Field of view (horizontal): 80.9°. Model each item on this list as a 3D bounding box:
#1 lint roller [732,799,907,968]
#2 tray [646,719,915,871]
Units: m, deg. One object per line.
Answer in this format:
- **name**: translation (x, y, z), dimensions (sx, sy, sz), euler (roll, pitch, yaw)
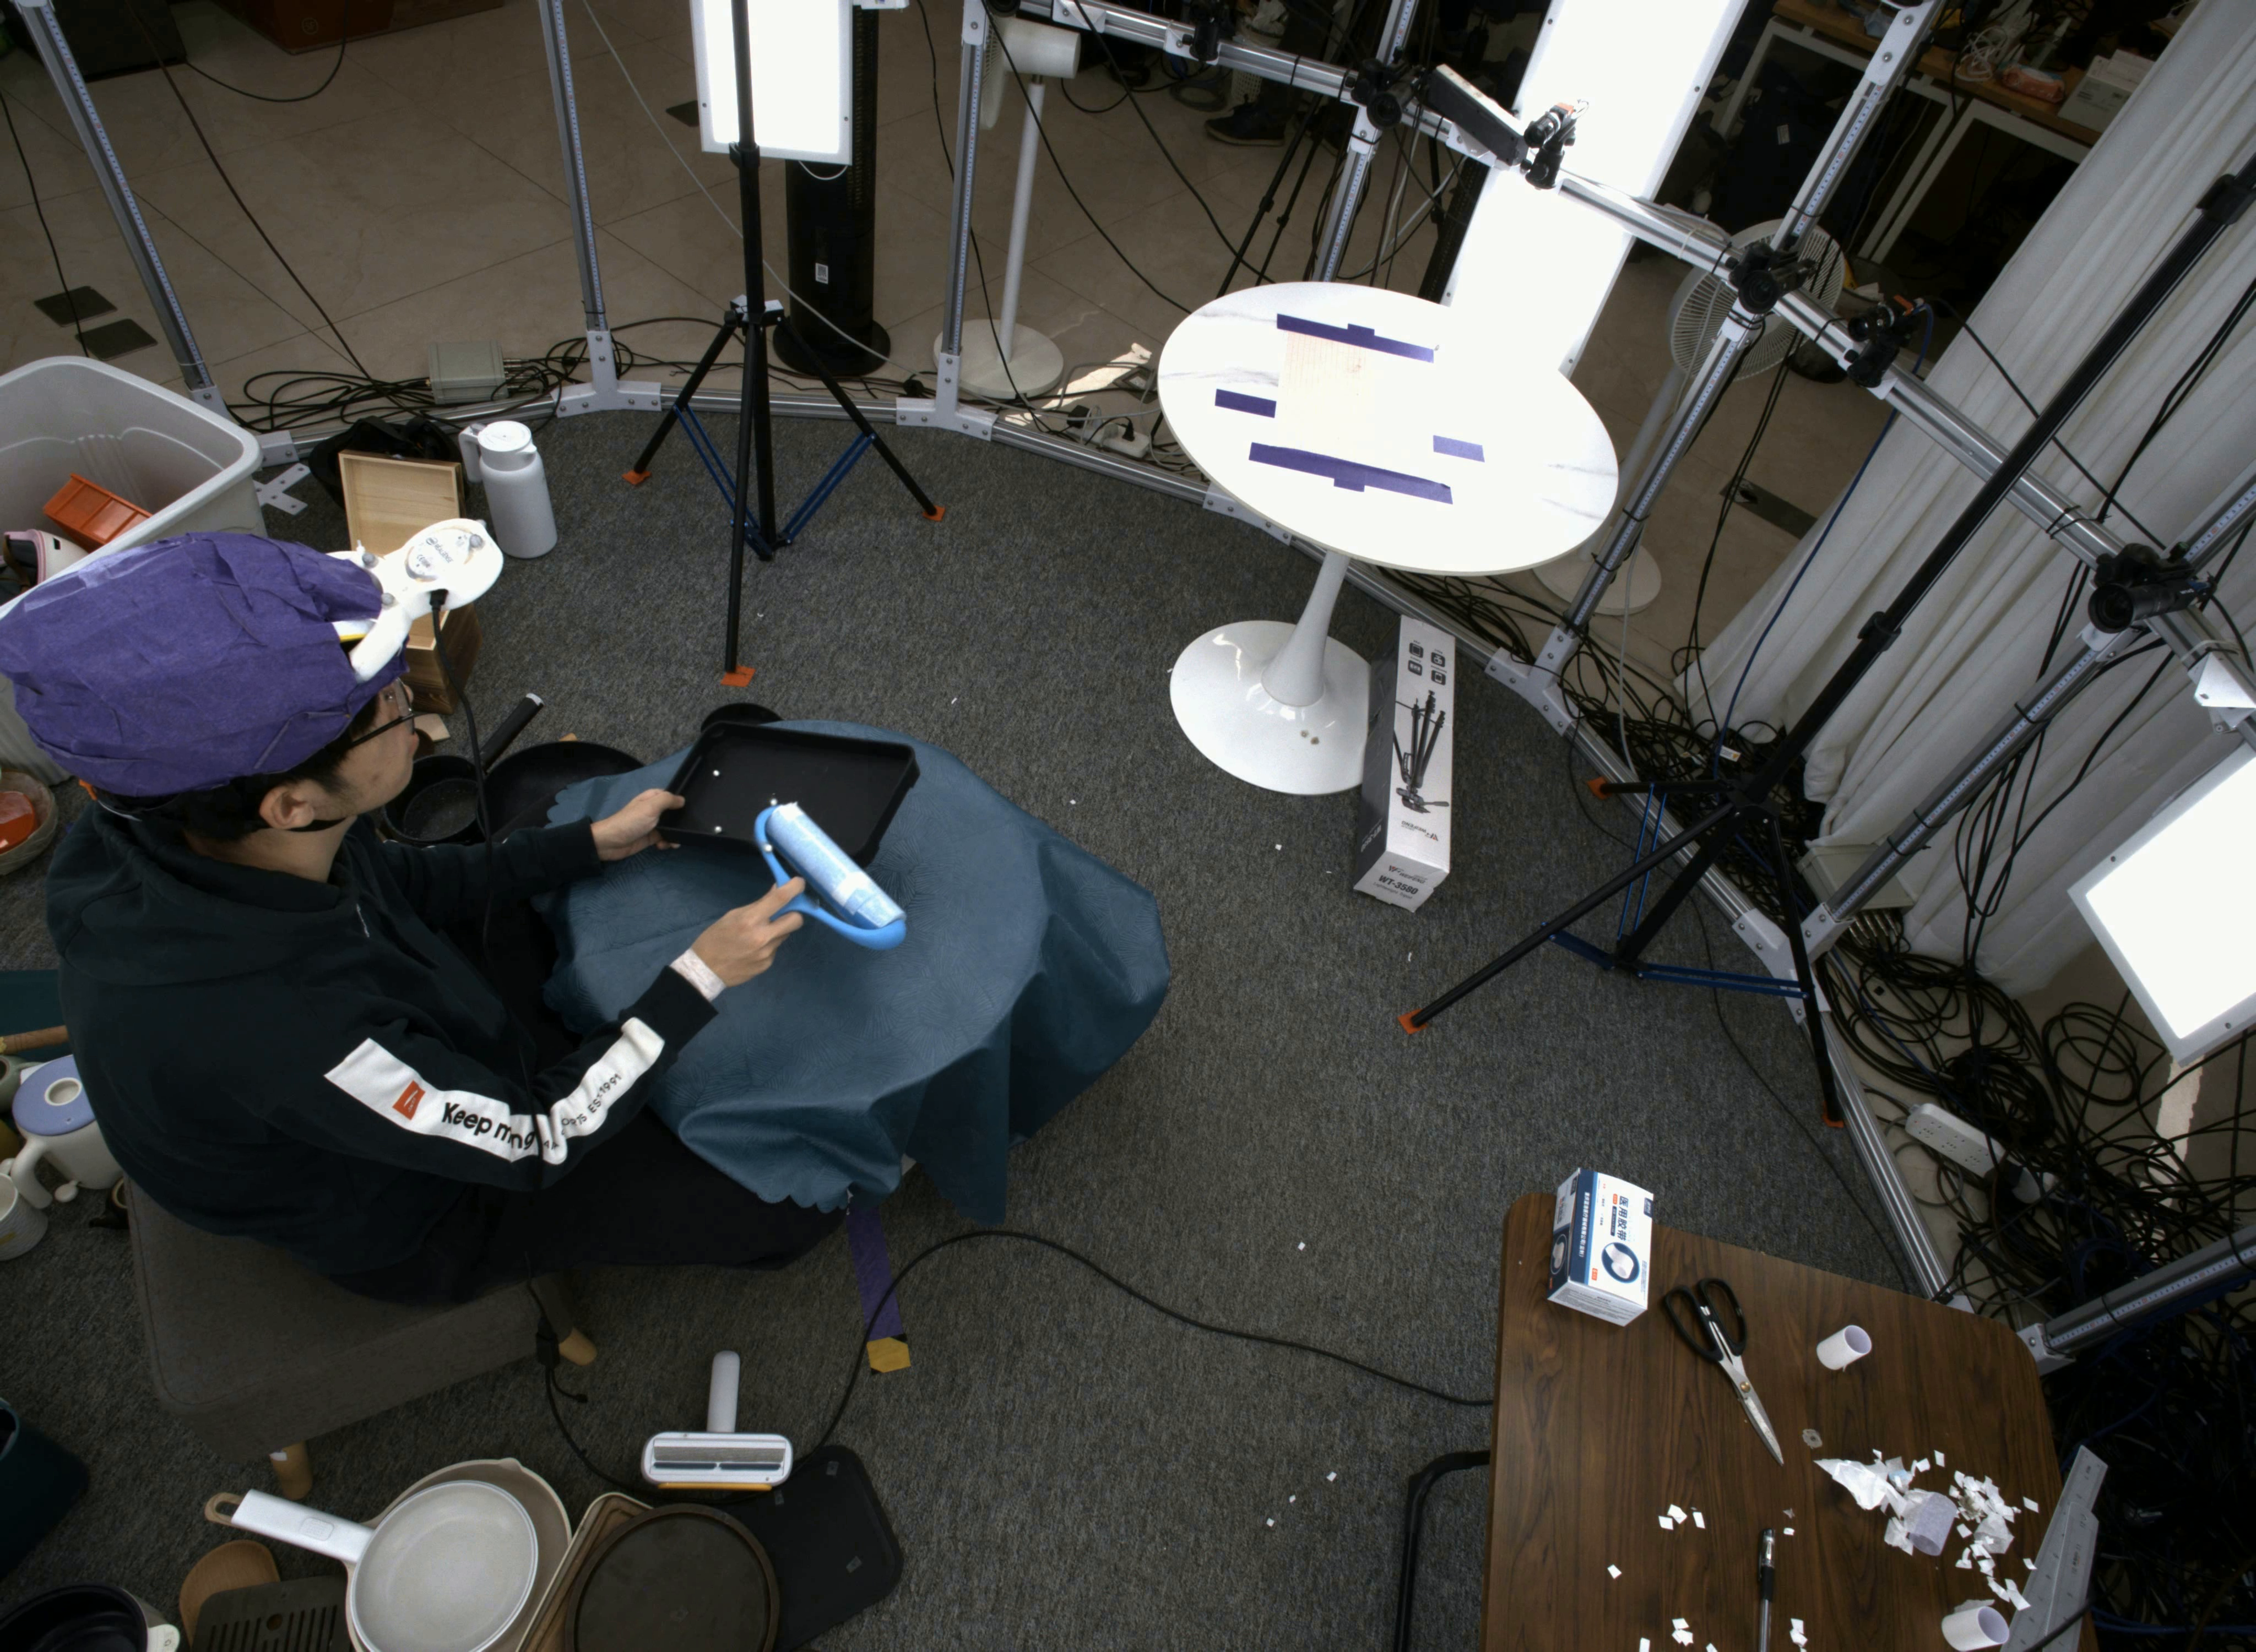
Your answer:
- **lint roller**: translation (-0.380, 0.088, 1.475), dimensions (0.226, 0.068, 0.180), euler (41, 66, 7)
- **tray**: translation (-0.438, -0.041, 1.630), dimensions (0.310, 0.038, 0.182), euler (9, 56, 15)
